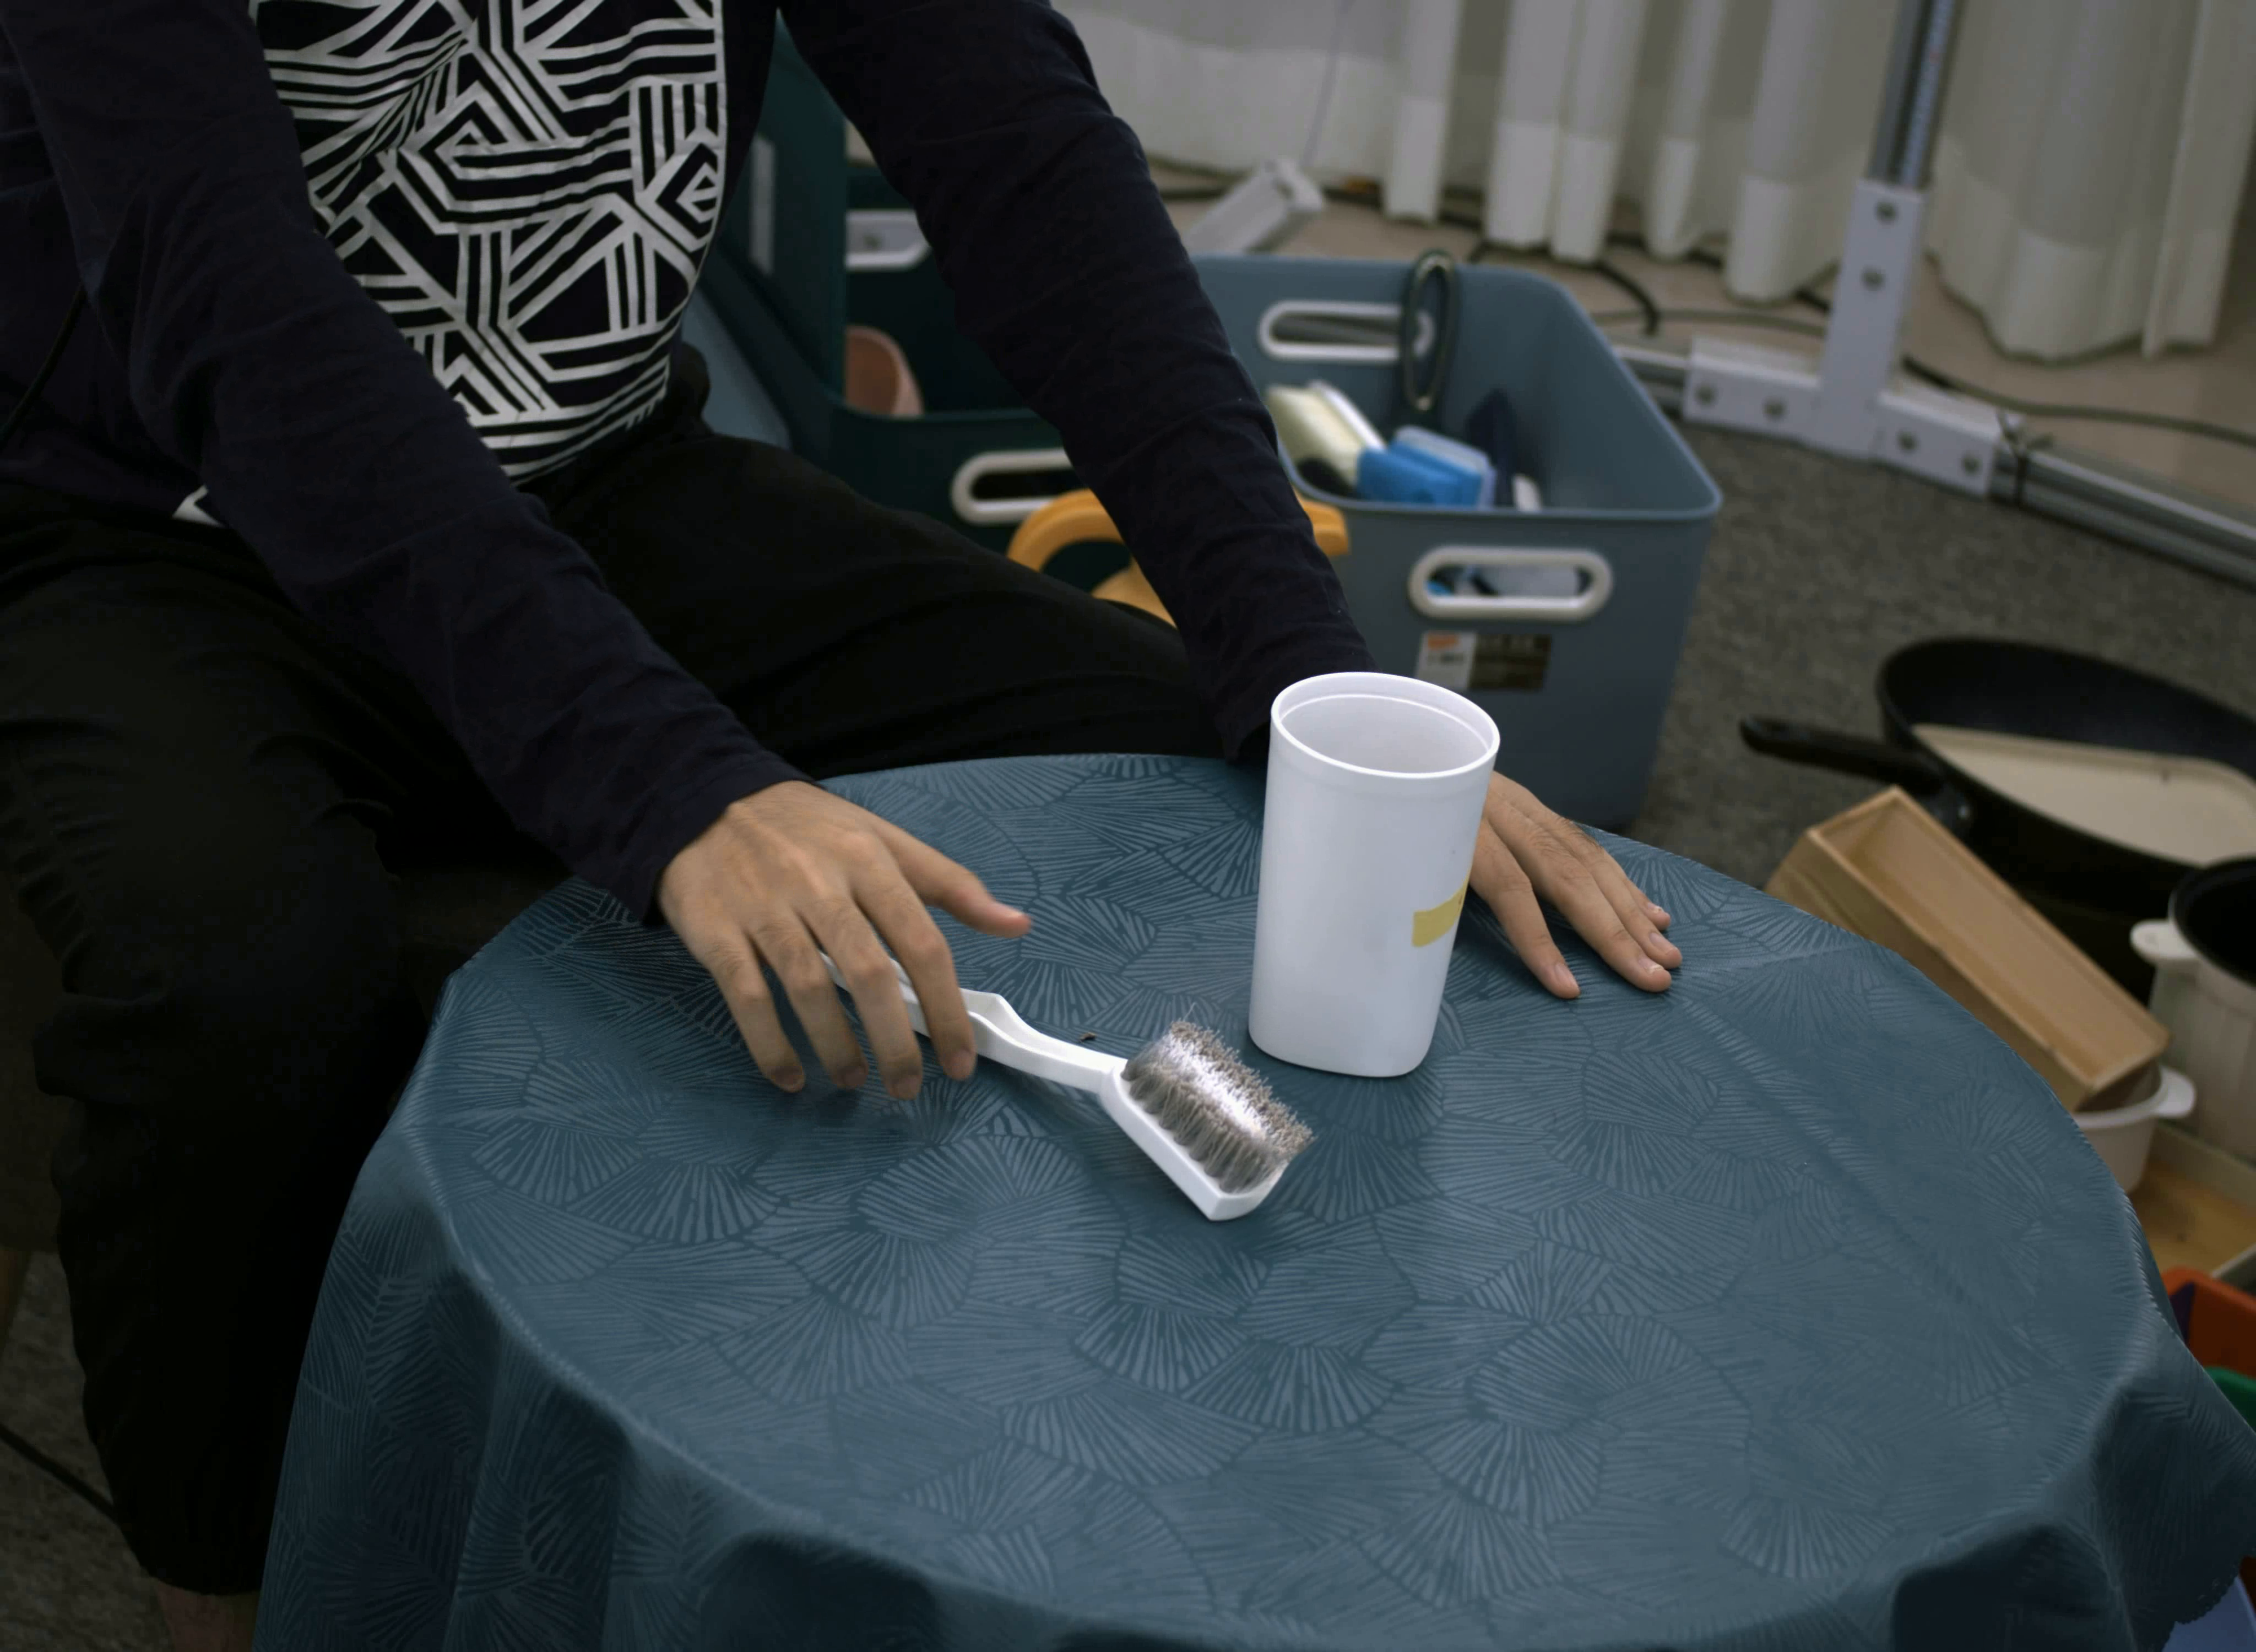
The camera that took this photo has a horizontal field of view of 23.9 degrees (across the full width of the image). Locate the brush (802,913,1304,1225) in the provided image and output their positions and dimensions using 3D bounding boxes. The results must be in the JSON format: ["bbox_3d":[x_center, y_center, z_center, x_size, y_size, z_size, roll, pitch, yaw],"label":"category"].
[{"bbox_3d":[-0.031,0.067,1.857,0.034,0.050,0.245,-20,37,-37],"label":"brush"}]

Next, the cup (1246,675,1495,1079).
[{"bbox_3d":[0.083,0.020,1.894,0.081,0.125,0.082,5,25,-3],"label":"cup"}]
